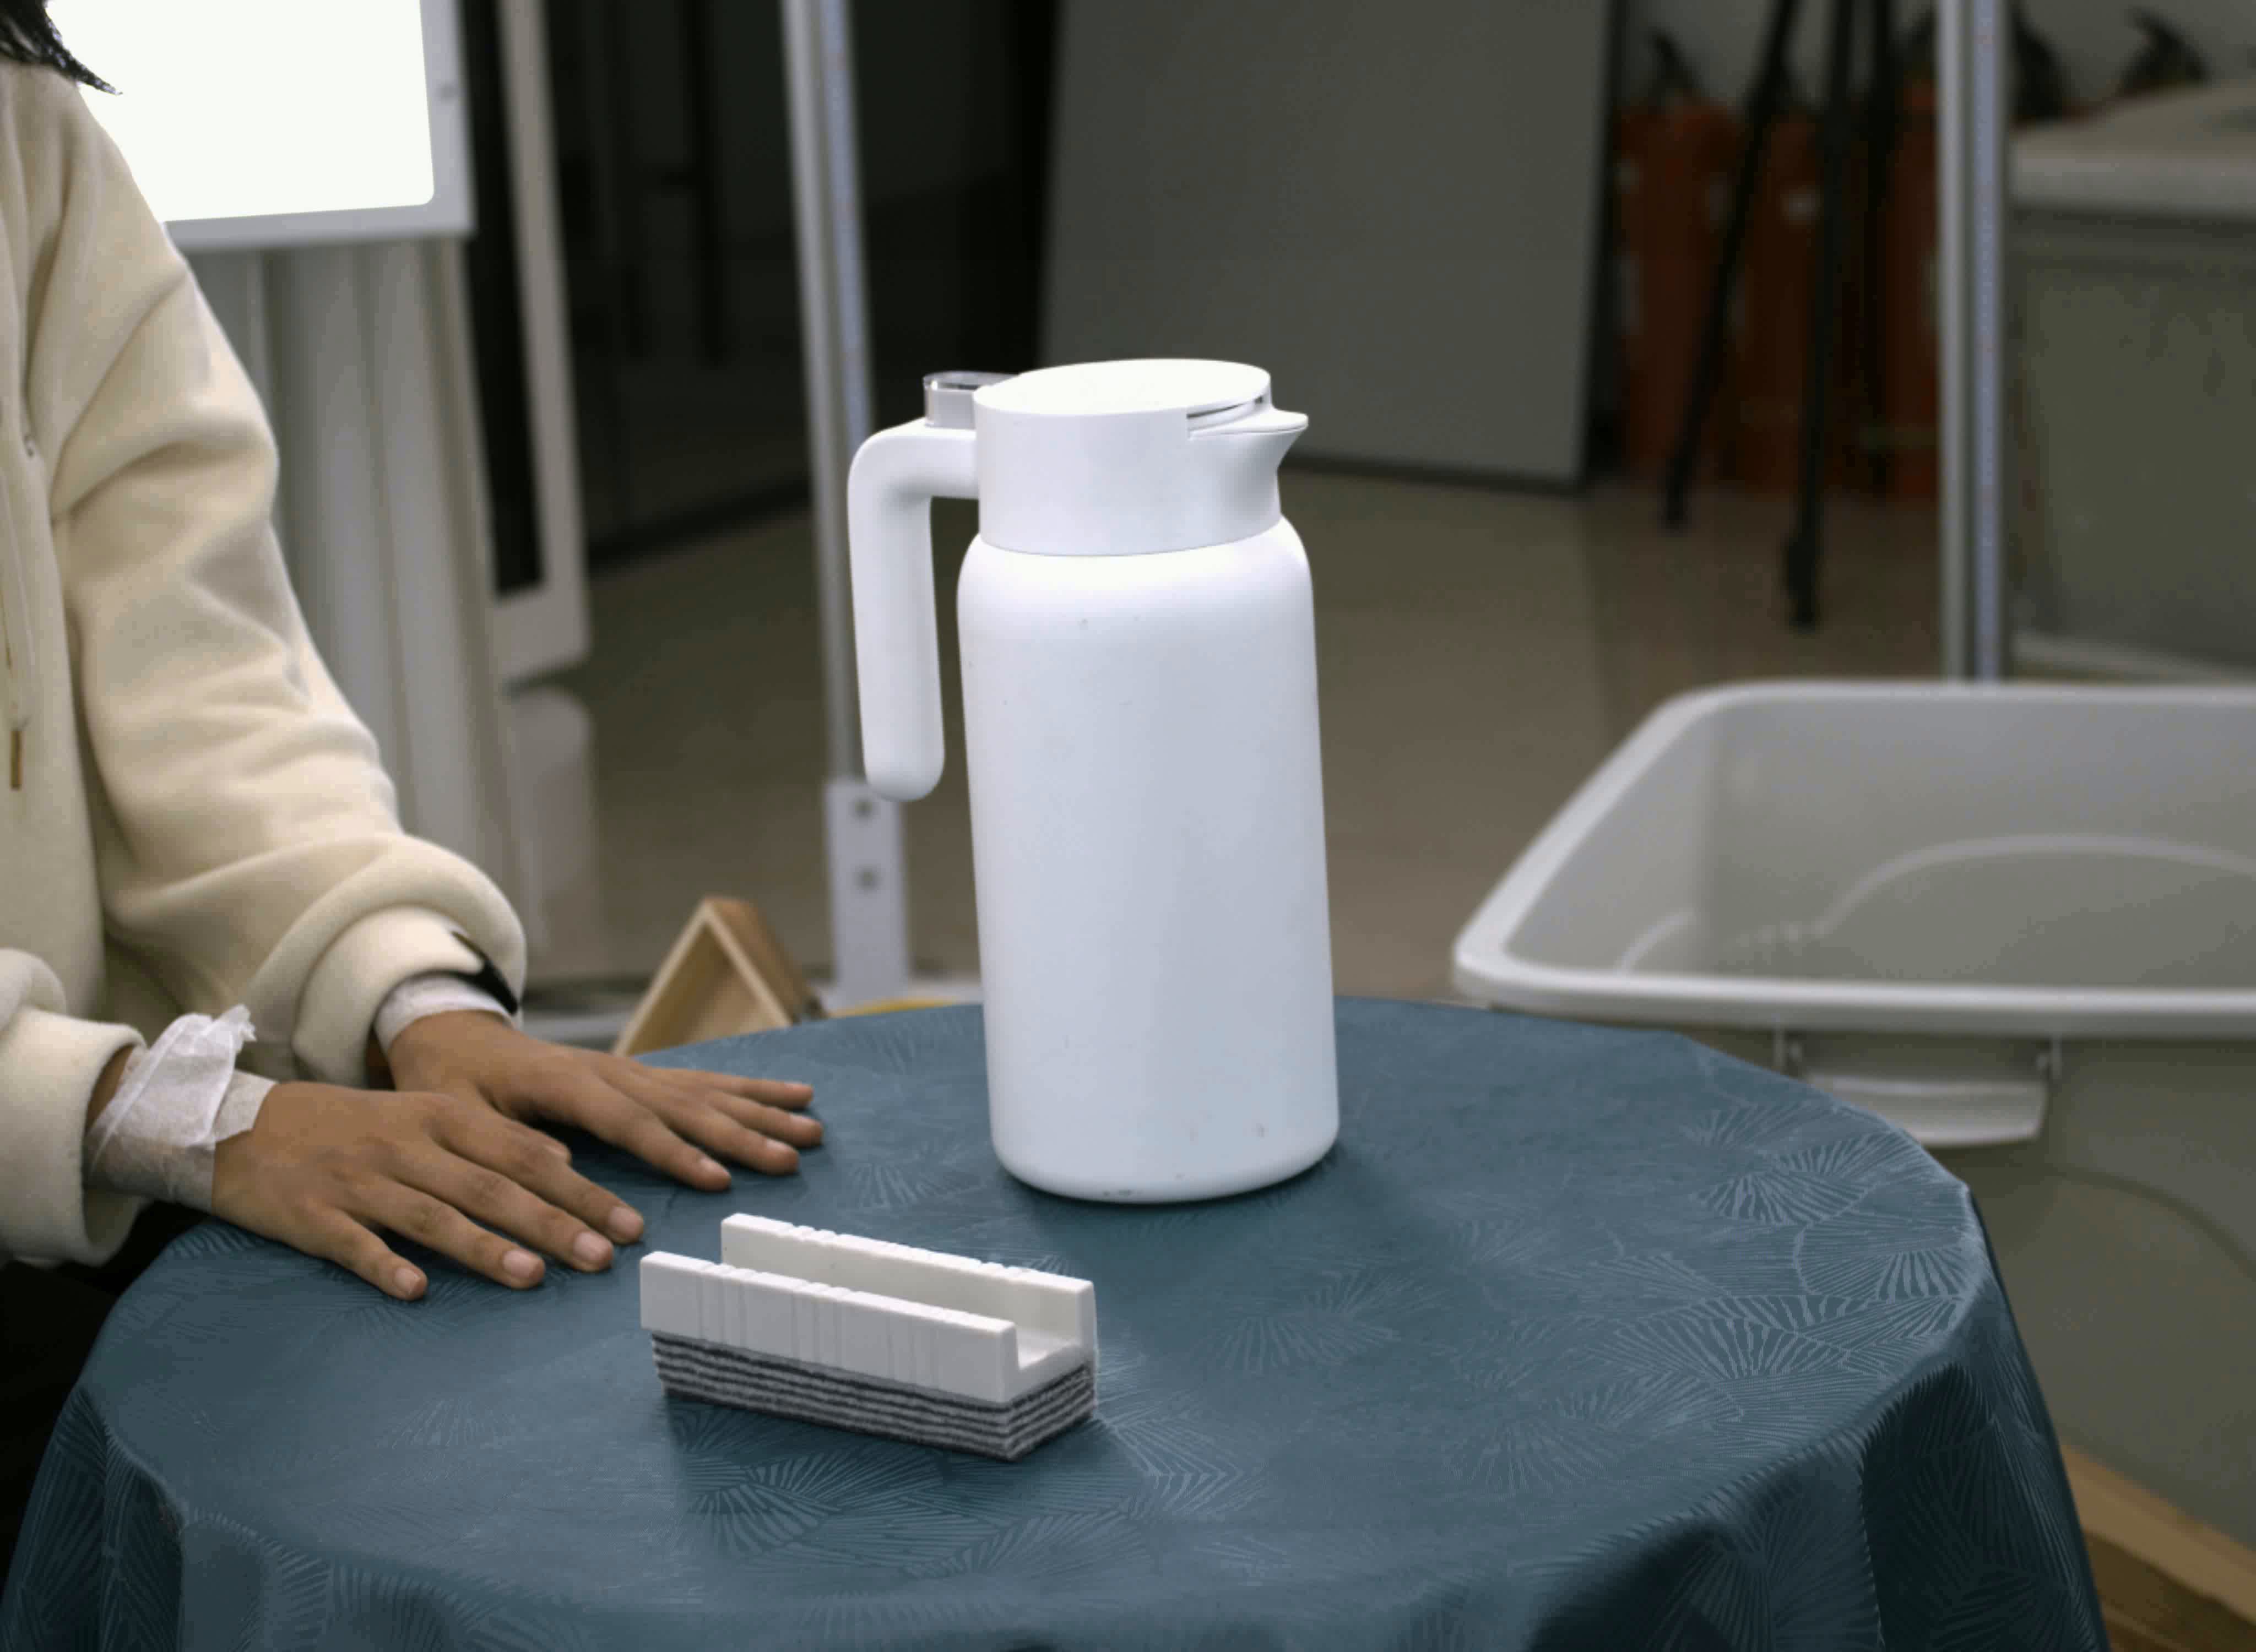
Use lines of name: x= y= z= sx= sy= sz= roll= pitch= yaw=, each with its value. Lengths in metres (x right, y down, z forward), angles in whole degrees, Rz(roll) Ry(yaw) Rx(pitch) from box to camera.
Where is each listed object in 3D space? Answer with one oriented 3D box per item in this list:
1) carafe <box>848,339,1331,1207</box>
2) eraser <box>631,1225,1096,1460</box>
carafe: x=-0.011 y=-0.019 z=1.779 sx=0.173 sy=0.272 sz=0.122 roll=5 pitch=18 yaw=33
eraser: x=-0.077 y=0.150 z=1.579 sx=0.135 sy=0.047 sz=0.049 roll=5 pitch=20 yaw=33
